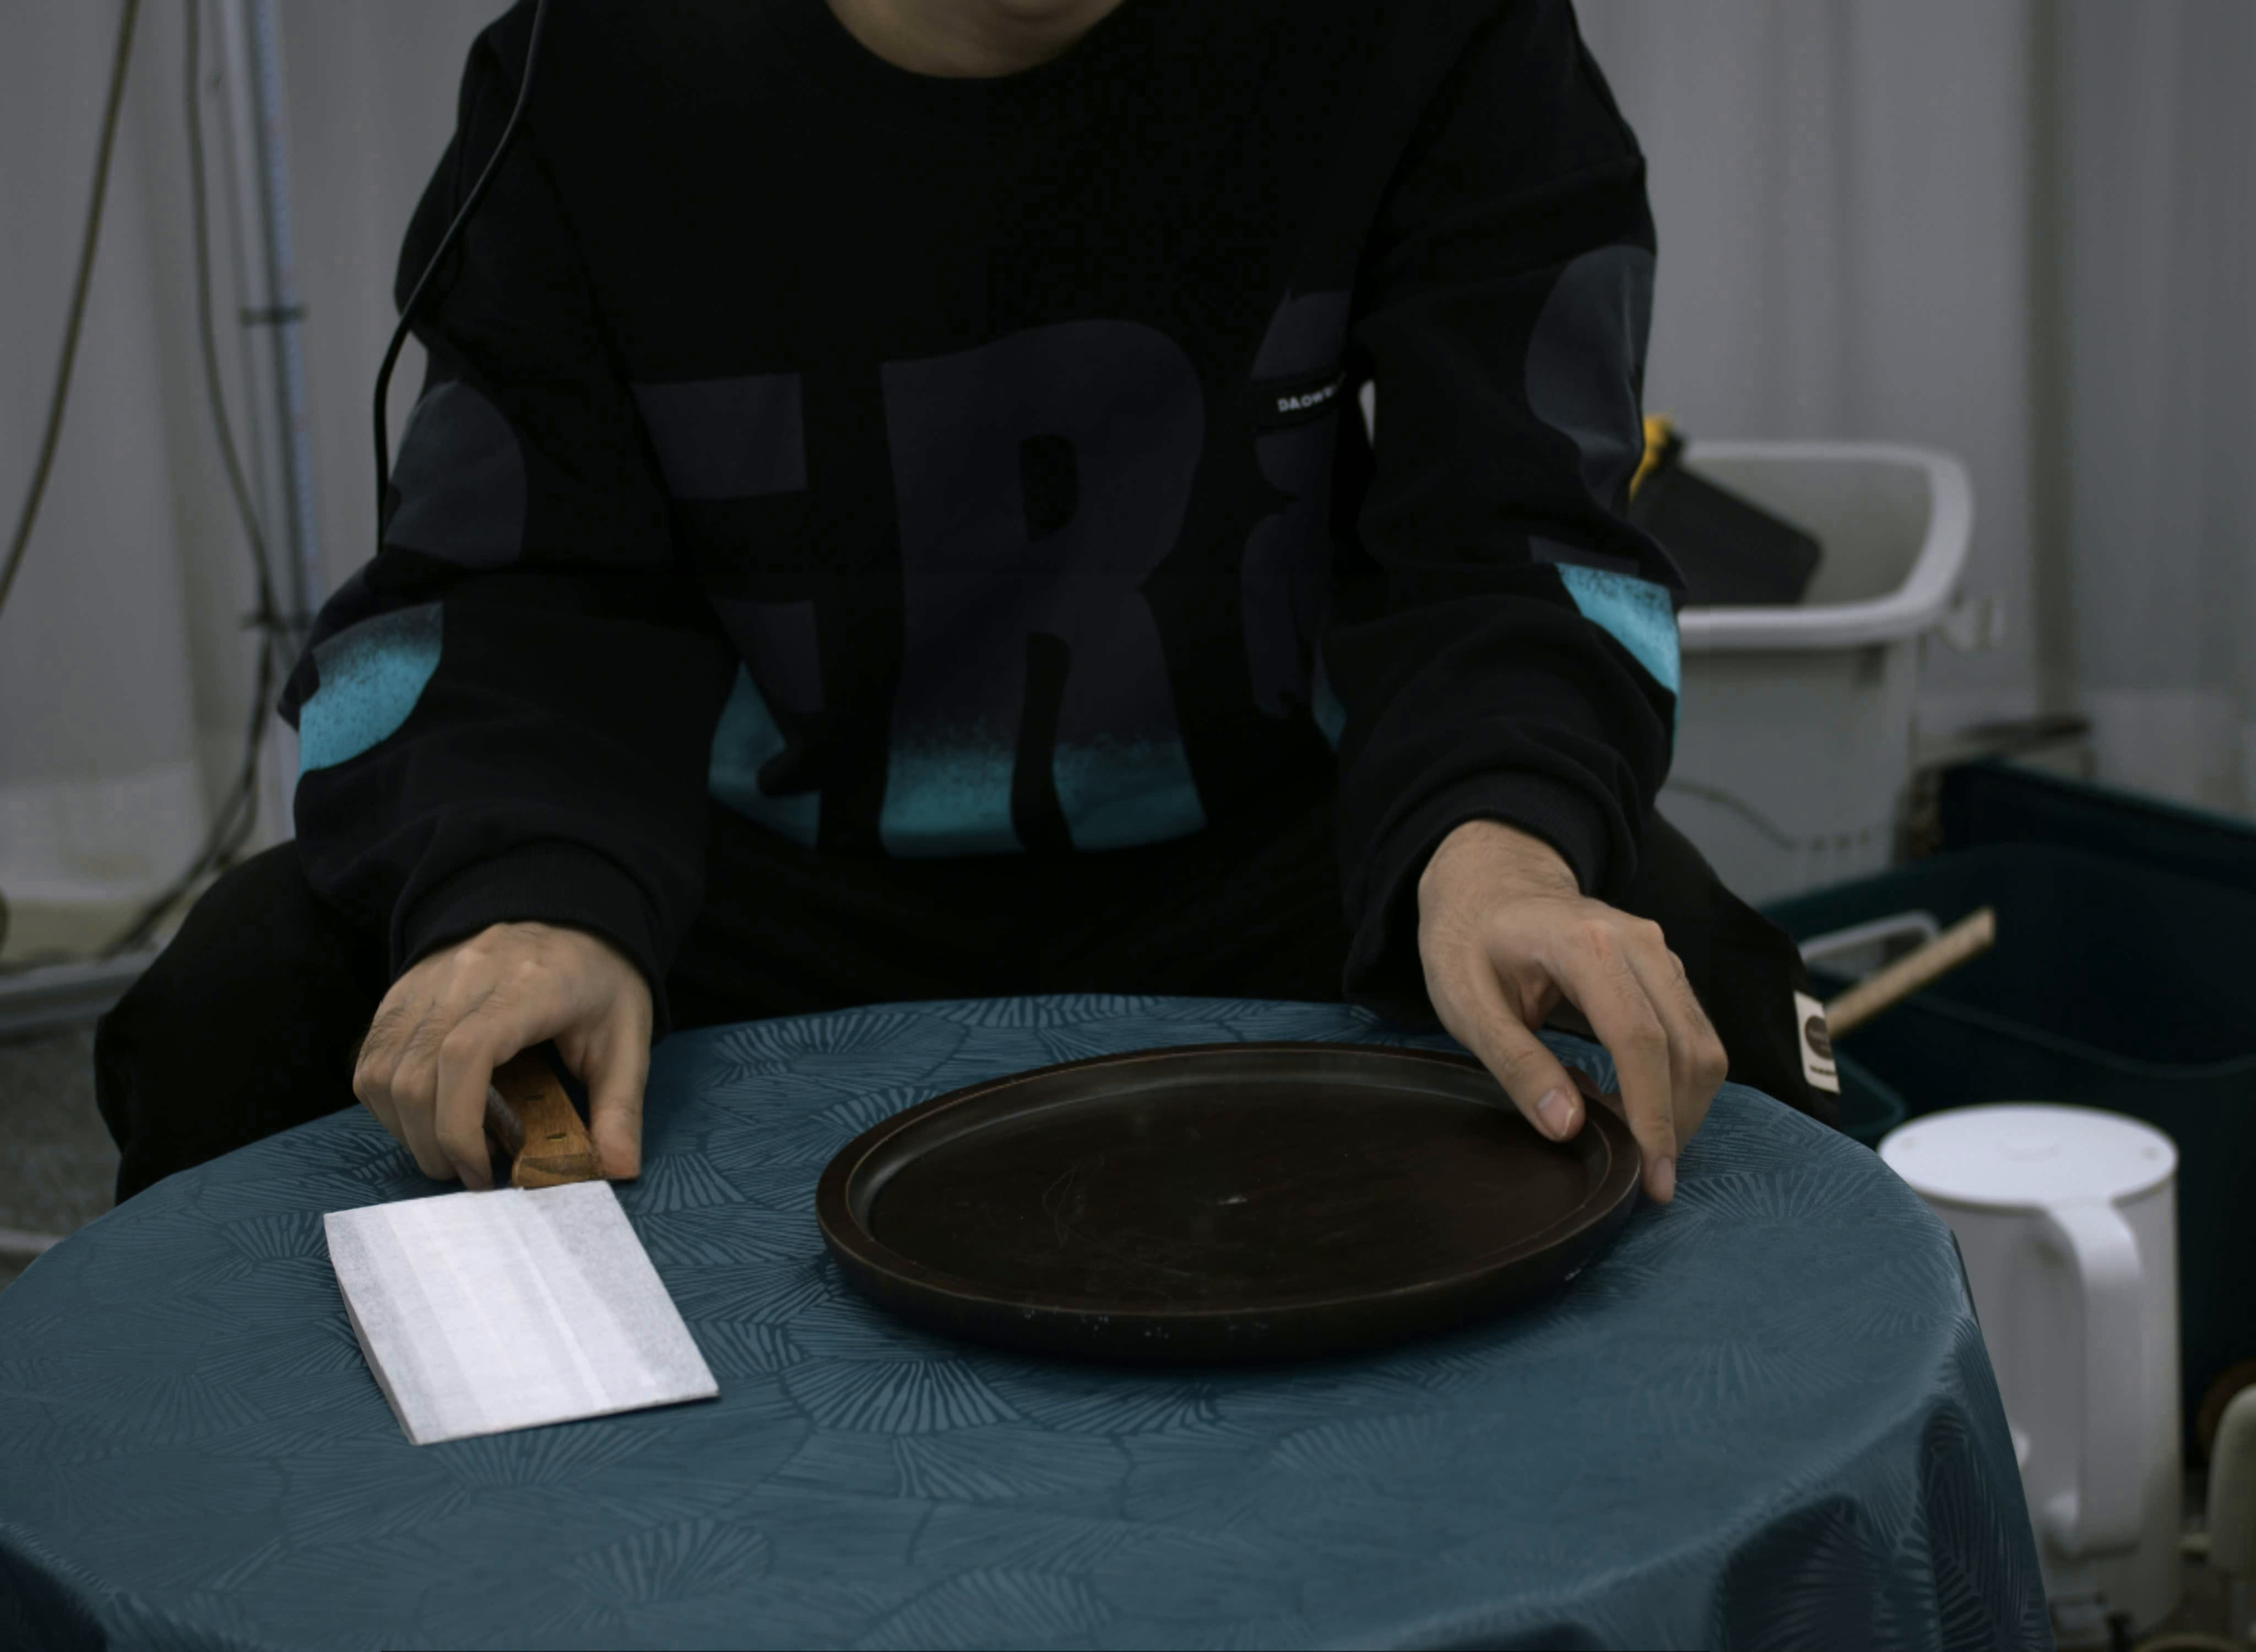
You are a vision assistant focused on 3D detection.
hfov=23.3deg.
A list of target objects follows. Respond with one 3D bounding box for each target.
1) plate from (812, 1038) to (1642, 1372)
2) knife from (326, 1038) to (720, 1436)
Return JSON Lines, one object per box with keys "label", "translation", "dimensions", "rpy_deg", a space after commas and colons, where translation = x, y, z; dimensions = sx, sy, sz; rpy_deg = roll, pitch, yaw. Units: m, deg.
{"label": "plate", "translation": [0.030, 0.113, 1.664], "dimensions": [0.254, 0.029, 0.256], "rpy_deg": [-5, 16, 1]}
{"label": "knife", "translation": [-0.197, 0.126, 1.685], "dimensions": [0.092, 0.021, 0.308], "rpy_deg": [-9, 18, -13]}
